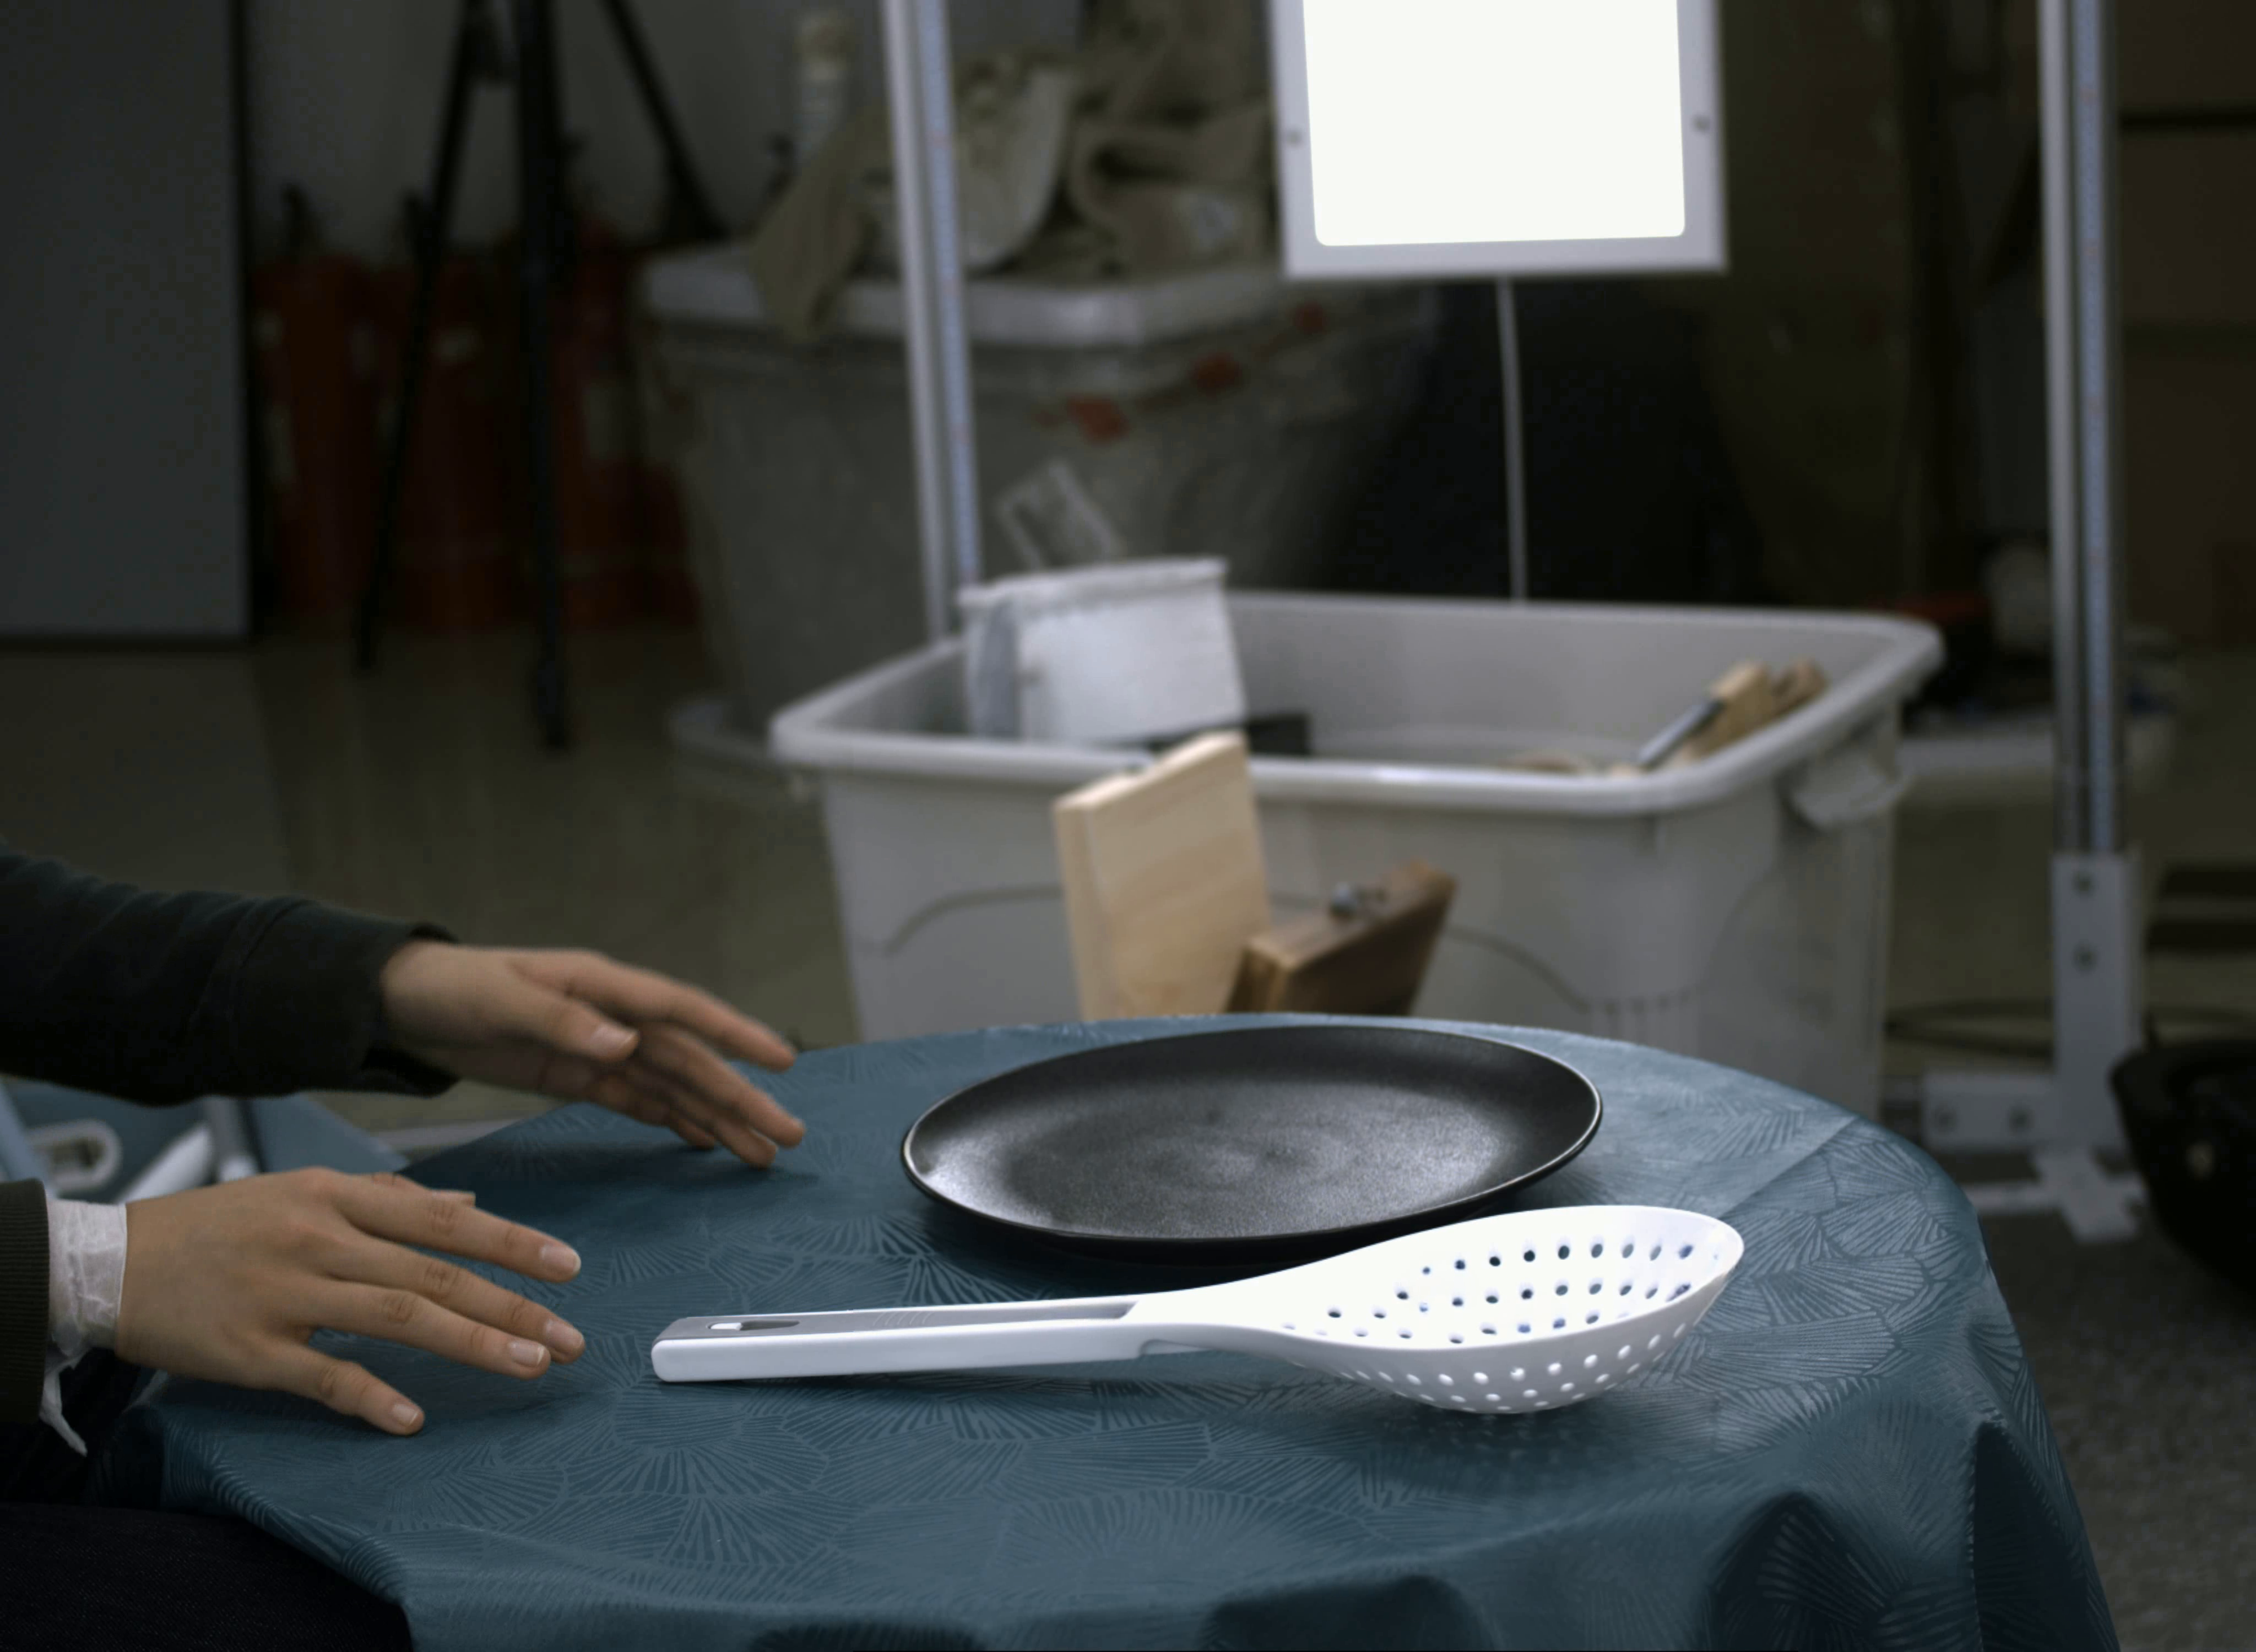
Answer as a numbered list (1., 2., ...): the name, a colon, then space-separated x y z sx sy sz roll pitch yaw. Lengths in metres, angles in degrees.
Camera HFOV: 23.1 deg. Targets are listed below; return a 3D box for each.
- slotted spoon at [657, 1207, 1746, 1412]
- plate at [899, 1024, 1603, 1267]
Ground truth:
1. slotted spoon: 0.018 0.152 1.693 0.354 0.046 0.134 -1 12 20
2. plate: 0.043 0.112 1.892 0.244 0.023 0.244 -5 14 0
